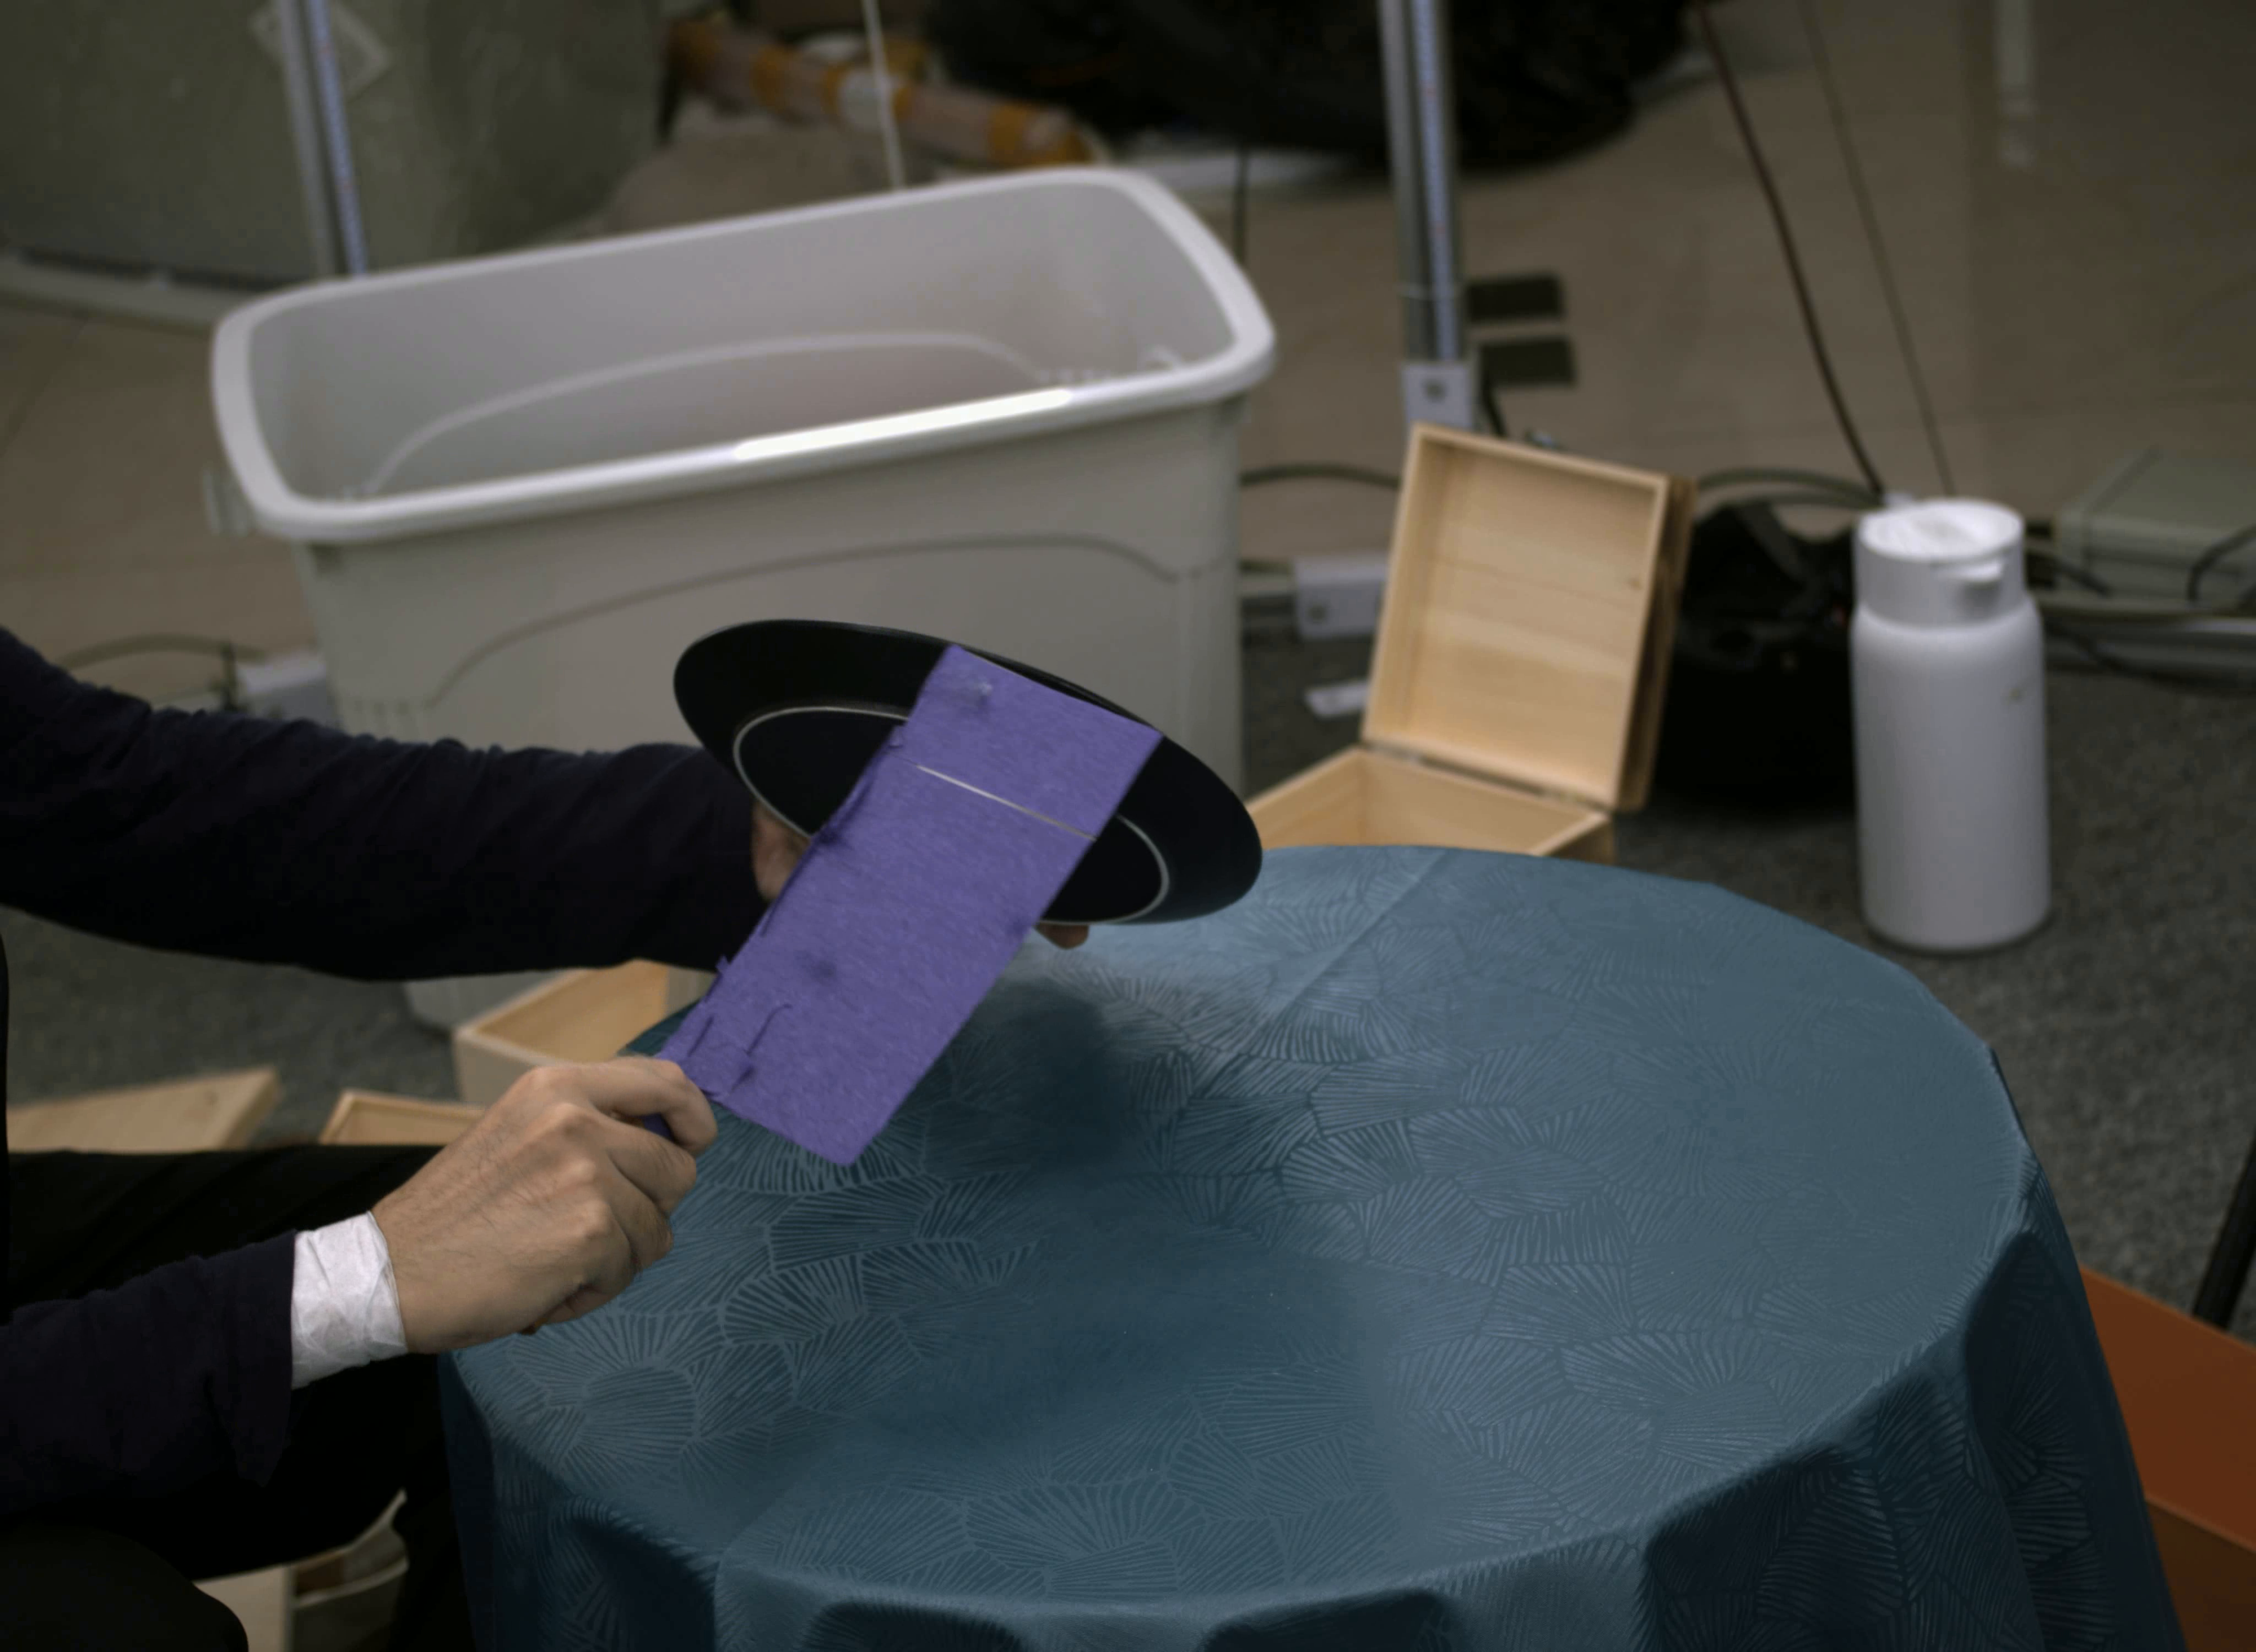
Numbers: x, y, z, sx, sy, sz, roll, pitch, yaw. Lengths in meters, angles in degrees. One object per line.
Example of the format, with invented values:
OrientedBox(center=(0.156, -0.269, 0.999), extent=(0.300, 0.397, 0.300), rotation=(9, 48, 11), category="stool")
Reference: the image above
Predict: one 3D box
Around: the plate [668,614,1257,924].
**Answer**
OrientedBox(center=(-0.068, -0.014, 2.217), extent=(0.243, 0.248, 0.023), rotation=(7, 66, 27), category="plate")

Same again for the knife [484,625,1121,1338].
OrientedBox(center=(-0.110, 0.060, 2.019), extent=(0.103, 0.033, 0.312), rotation=(23, 66, 24), category="knife")
